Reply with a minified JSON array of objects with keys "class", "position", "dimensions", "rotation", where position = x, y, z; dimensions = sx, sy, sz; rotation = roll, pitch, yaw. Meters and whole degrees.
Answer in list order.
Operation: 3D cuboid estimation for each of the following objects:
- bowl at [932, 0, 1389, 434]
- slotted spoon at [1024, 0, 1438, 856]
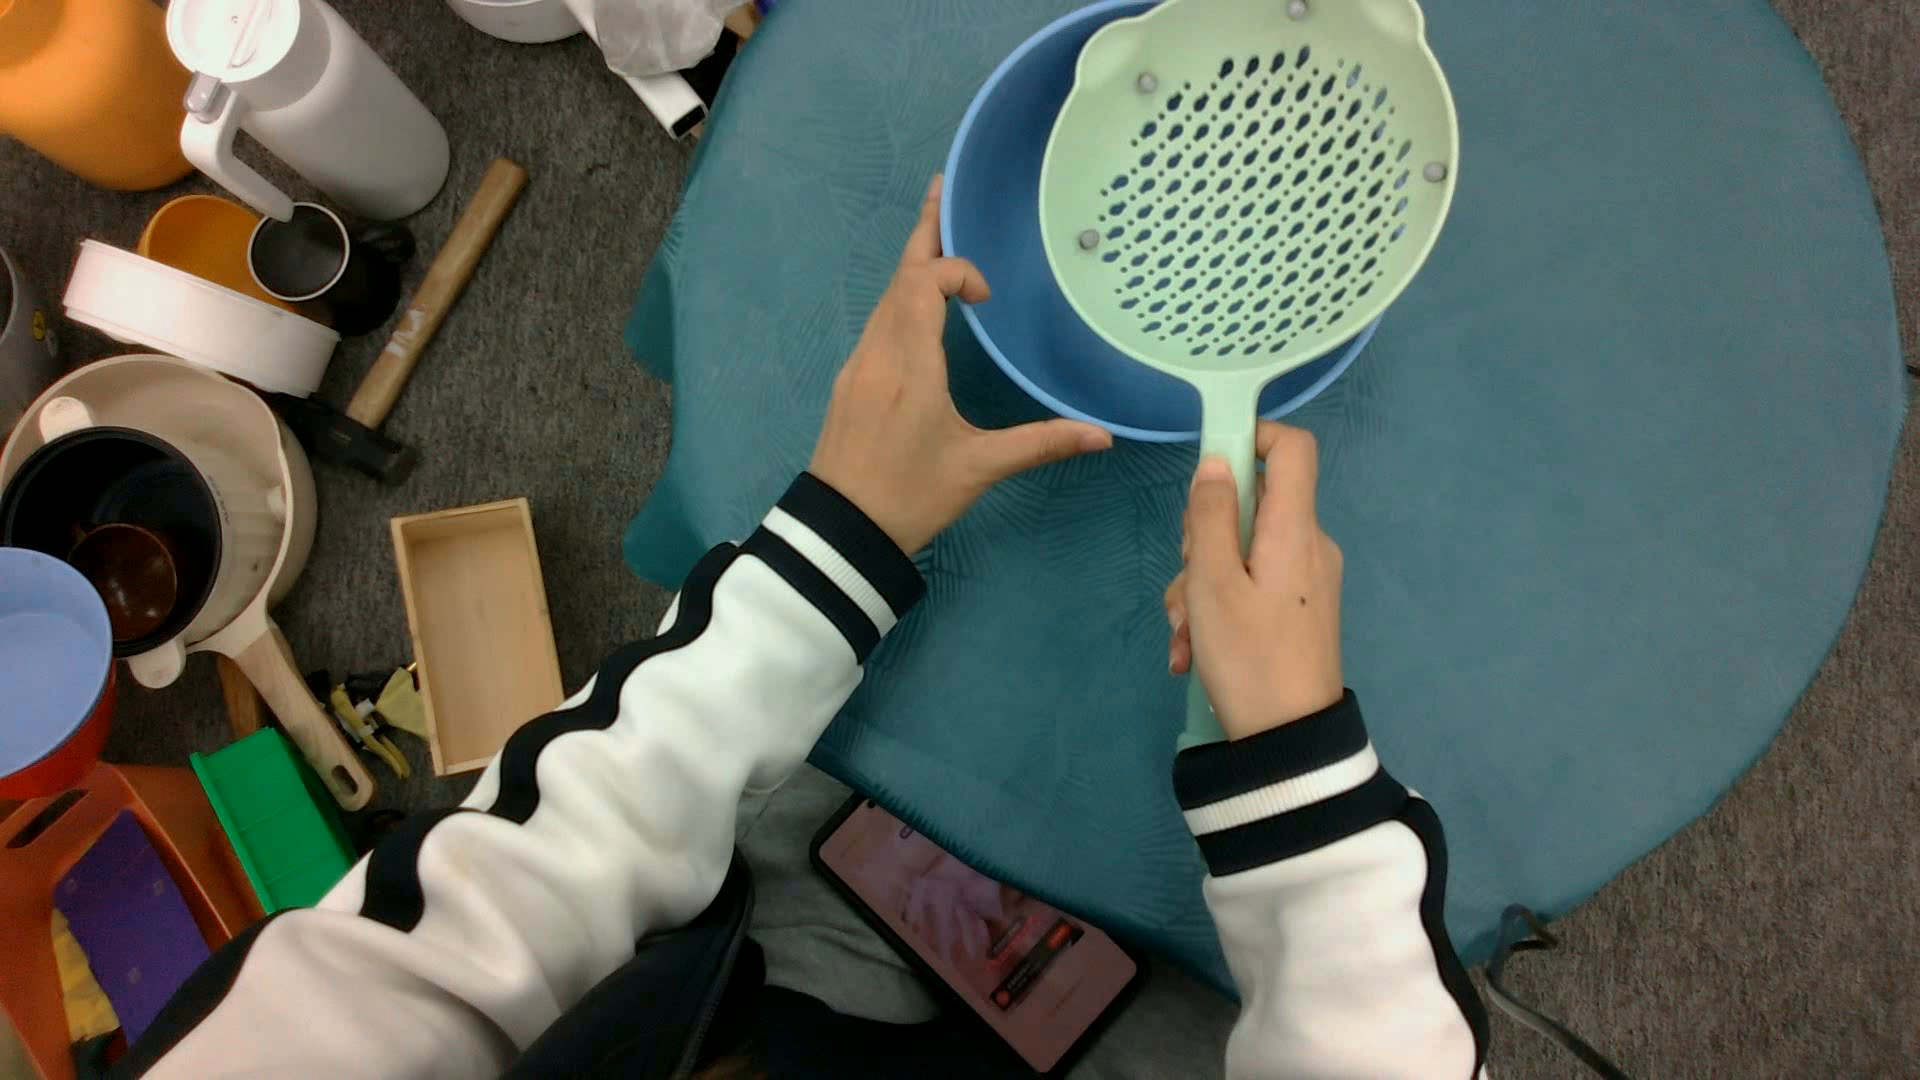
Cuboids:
[{"class":"bowl","position":[0.086,-0.137,0.631],"dimensions":[0.196,0.095,0.196],"rotation":[0,84,-1]},{"class":"slotted spoon","position":[0.106,-0.056,0.563],"dimensions":[0.169,0.075,0.359],"rotation":[0,74,22]}]
